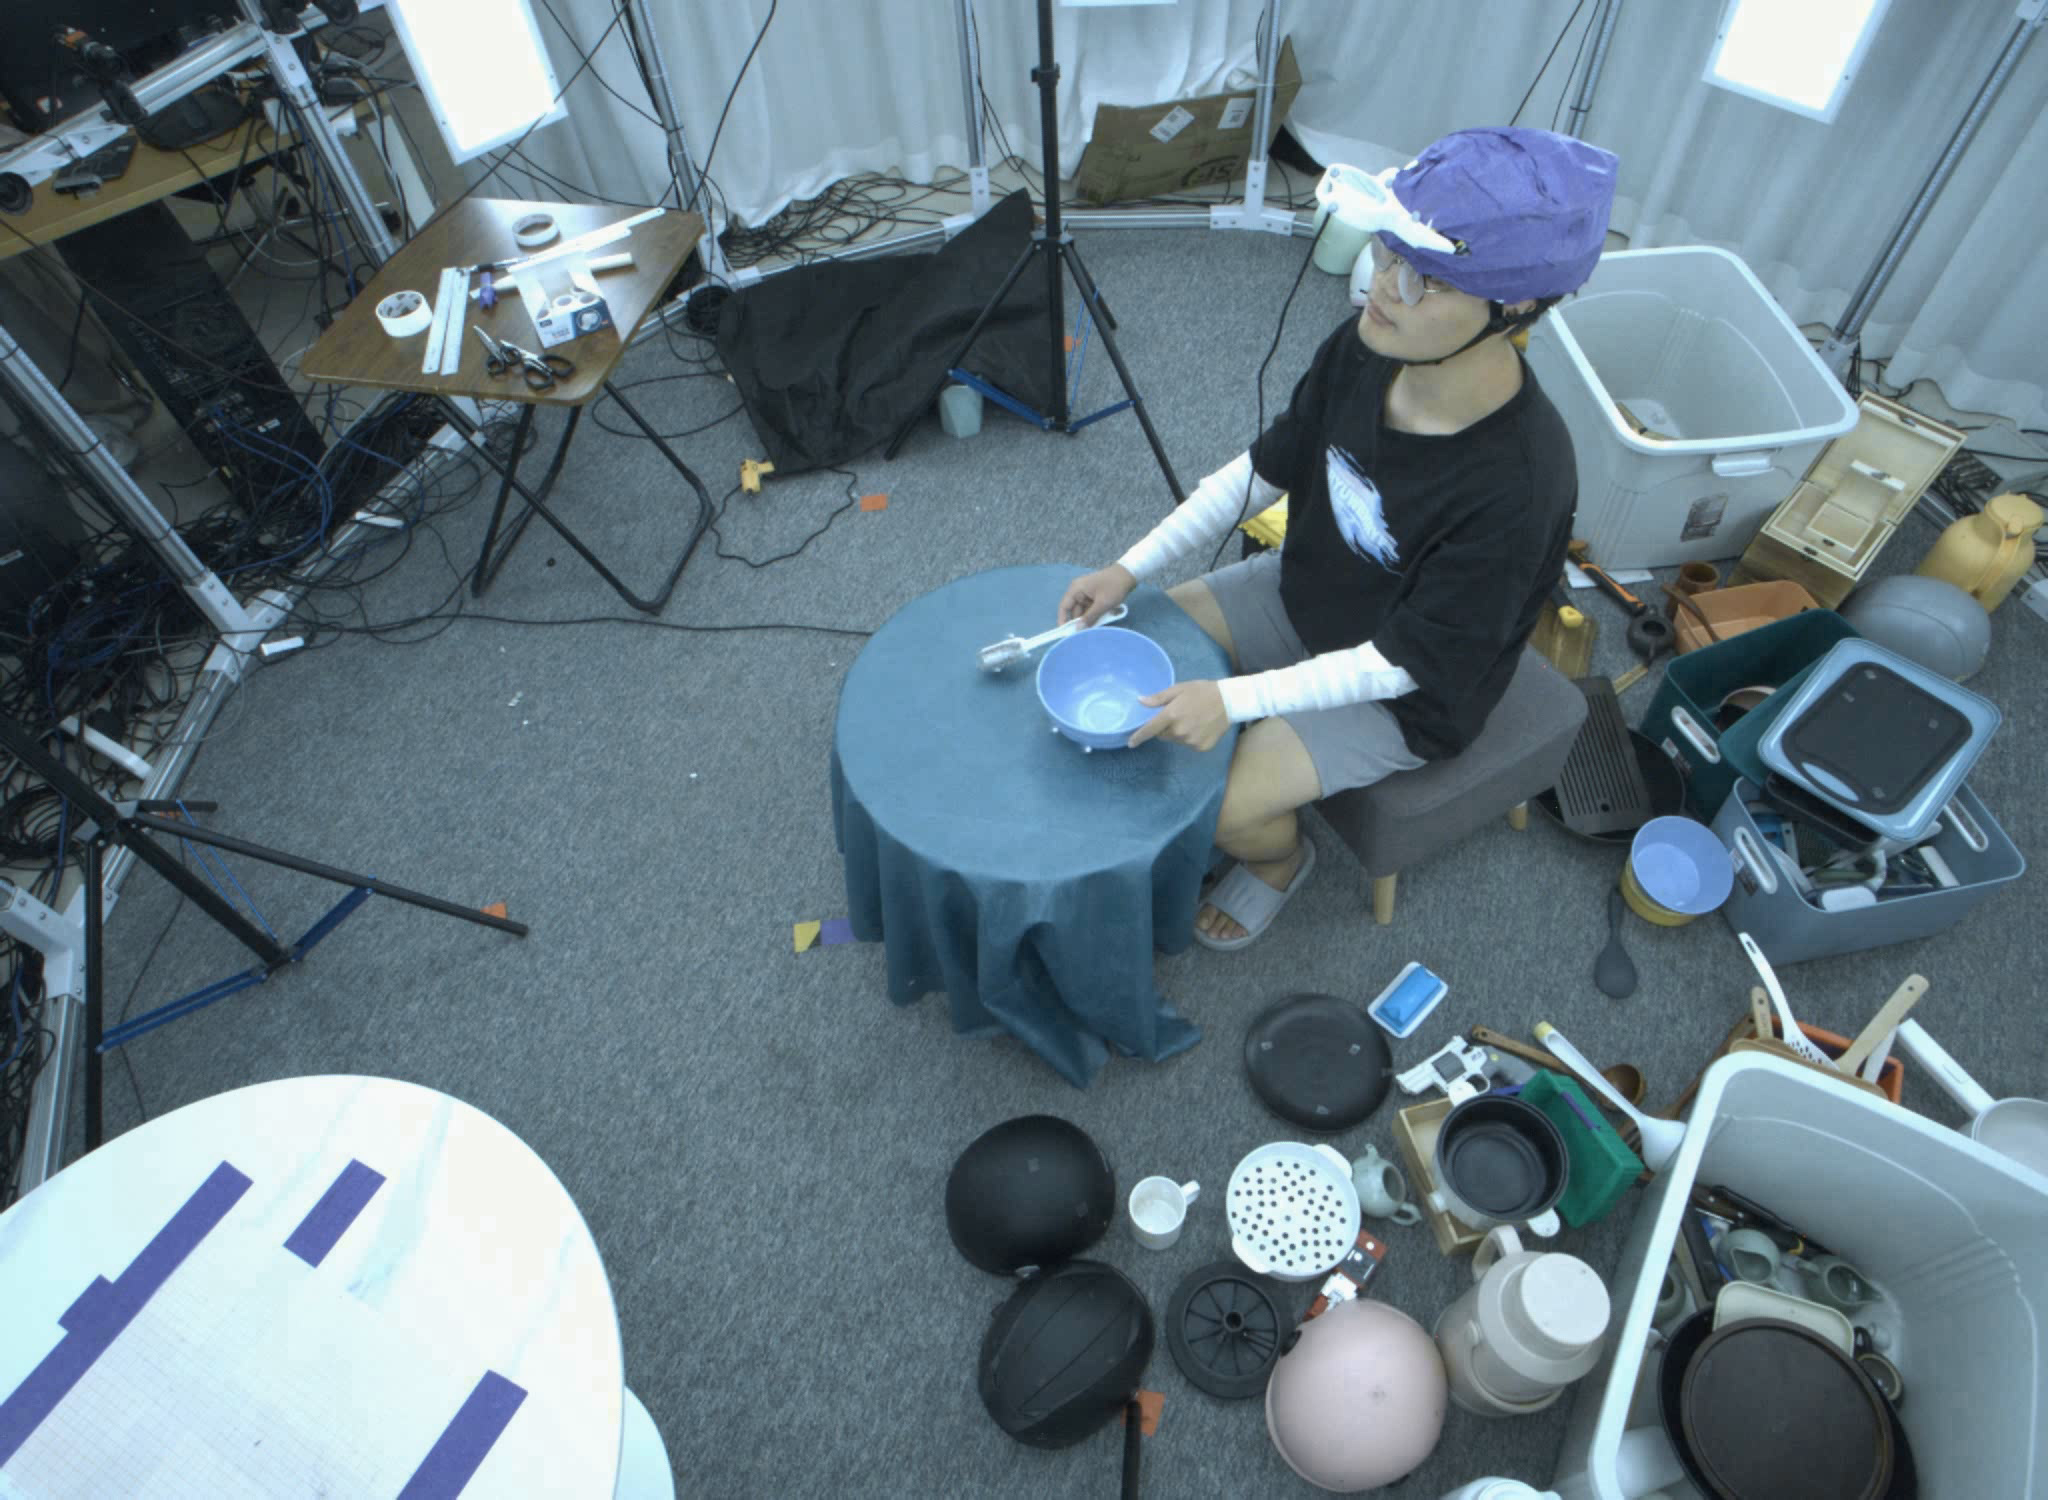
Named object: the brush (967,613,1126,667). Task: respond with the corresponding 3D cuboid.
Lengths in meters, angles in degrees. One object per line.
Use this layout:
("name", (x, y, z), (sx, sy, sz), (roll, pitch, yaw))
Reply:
("brush", (0.034, -0.167, 1.841), (0.243, 0.050, 0.034), (-14, 91, 3))

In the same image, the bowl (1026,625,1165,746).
("bowl", (0.104, -0.078, 1.771), (0.196, 0.096, 0.194), (-1, 54, 3))
